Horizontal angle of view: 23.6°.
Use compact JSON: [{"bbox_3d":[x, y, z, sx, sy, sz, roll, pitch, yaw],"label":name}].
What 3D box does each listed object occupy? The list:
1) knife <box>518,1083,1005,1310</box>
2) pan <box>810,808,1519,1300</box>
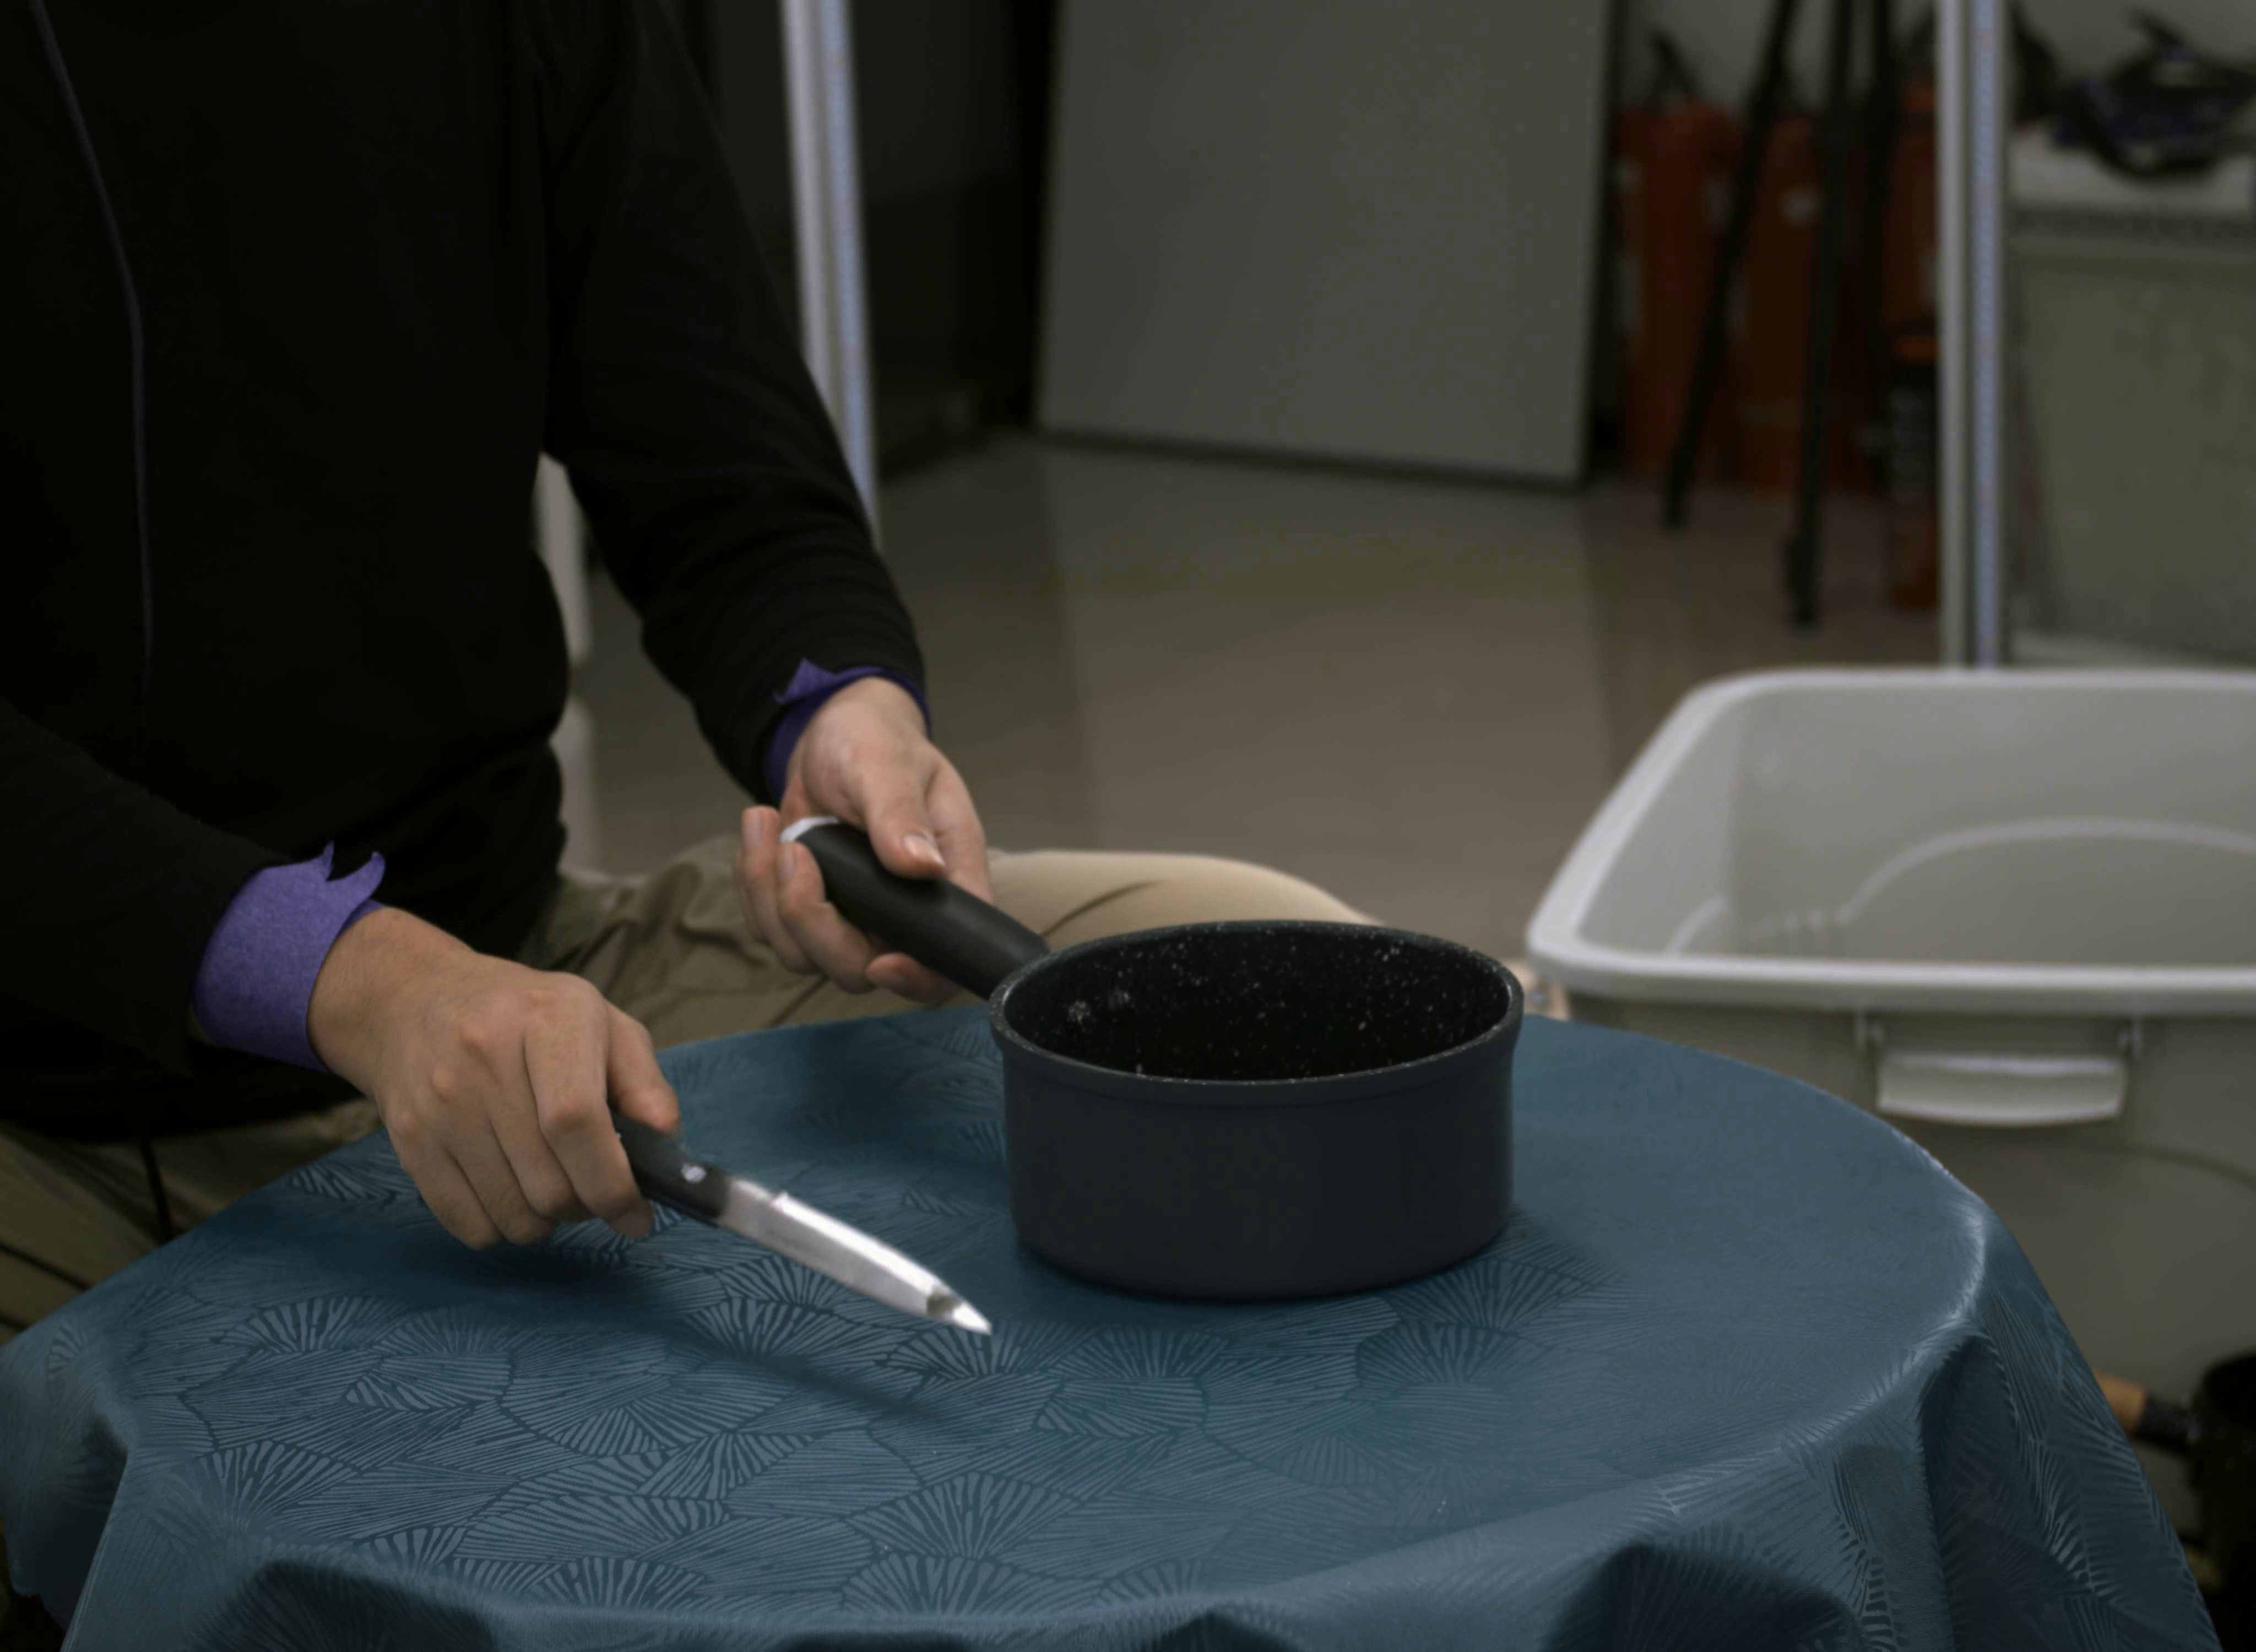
[{"bbox_3d":[-0.116,0.116,1.656,0.024,0.016,0.240,-33,32,-30],"label":"knife"},{"bbox_3d":[-0.005,0.070,1.781,0.168,0.087,0.332,-13,19,-33],"label":"pan"}]
